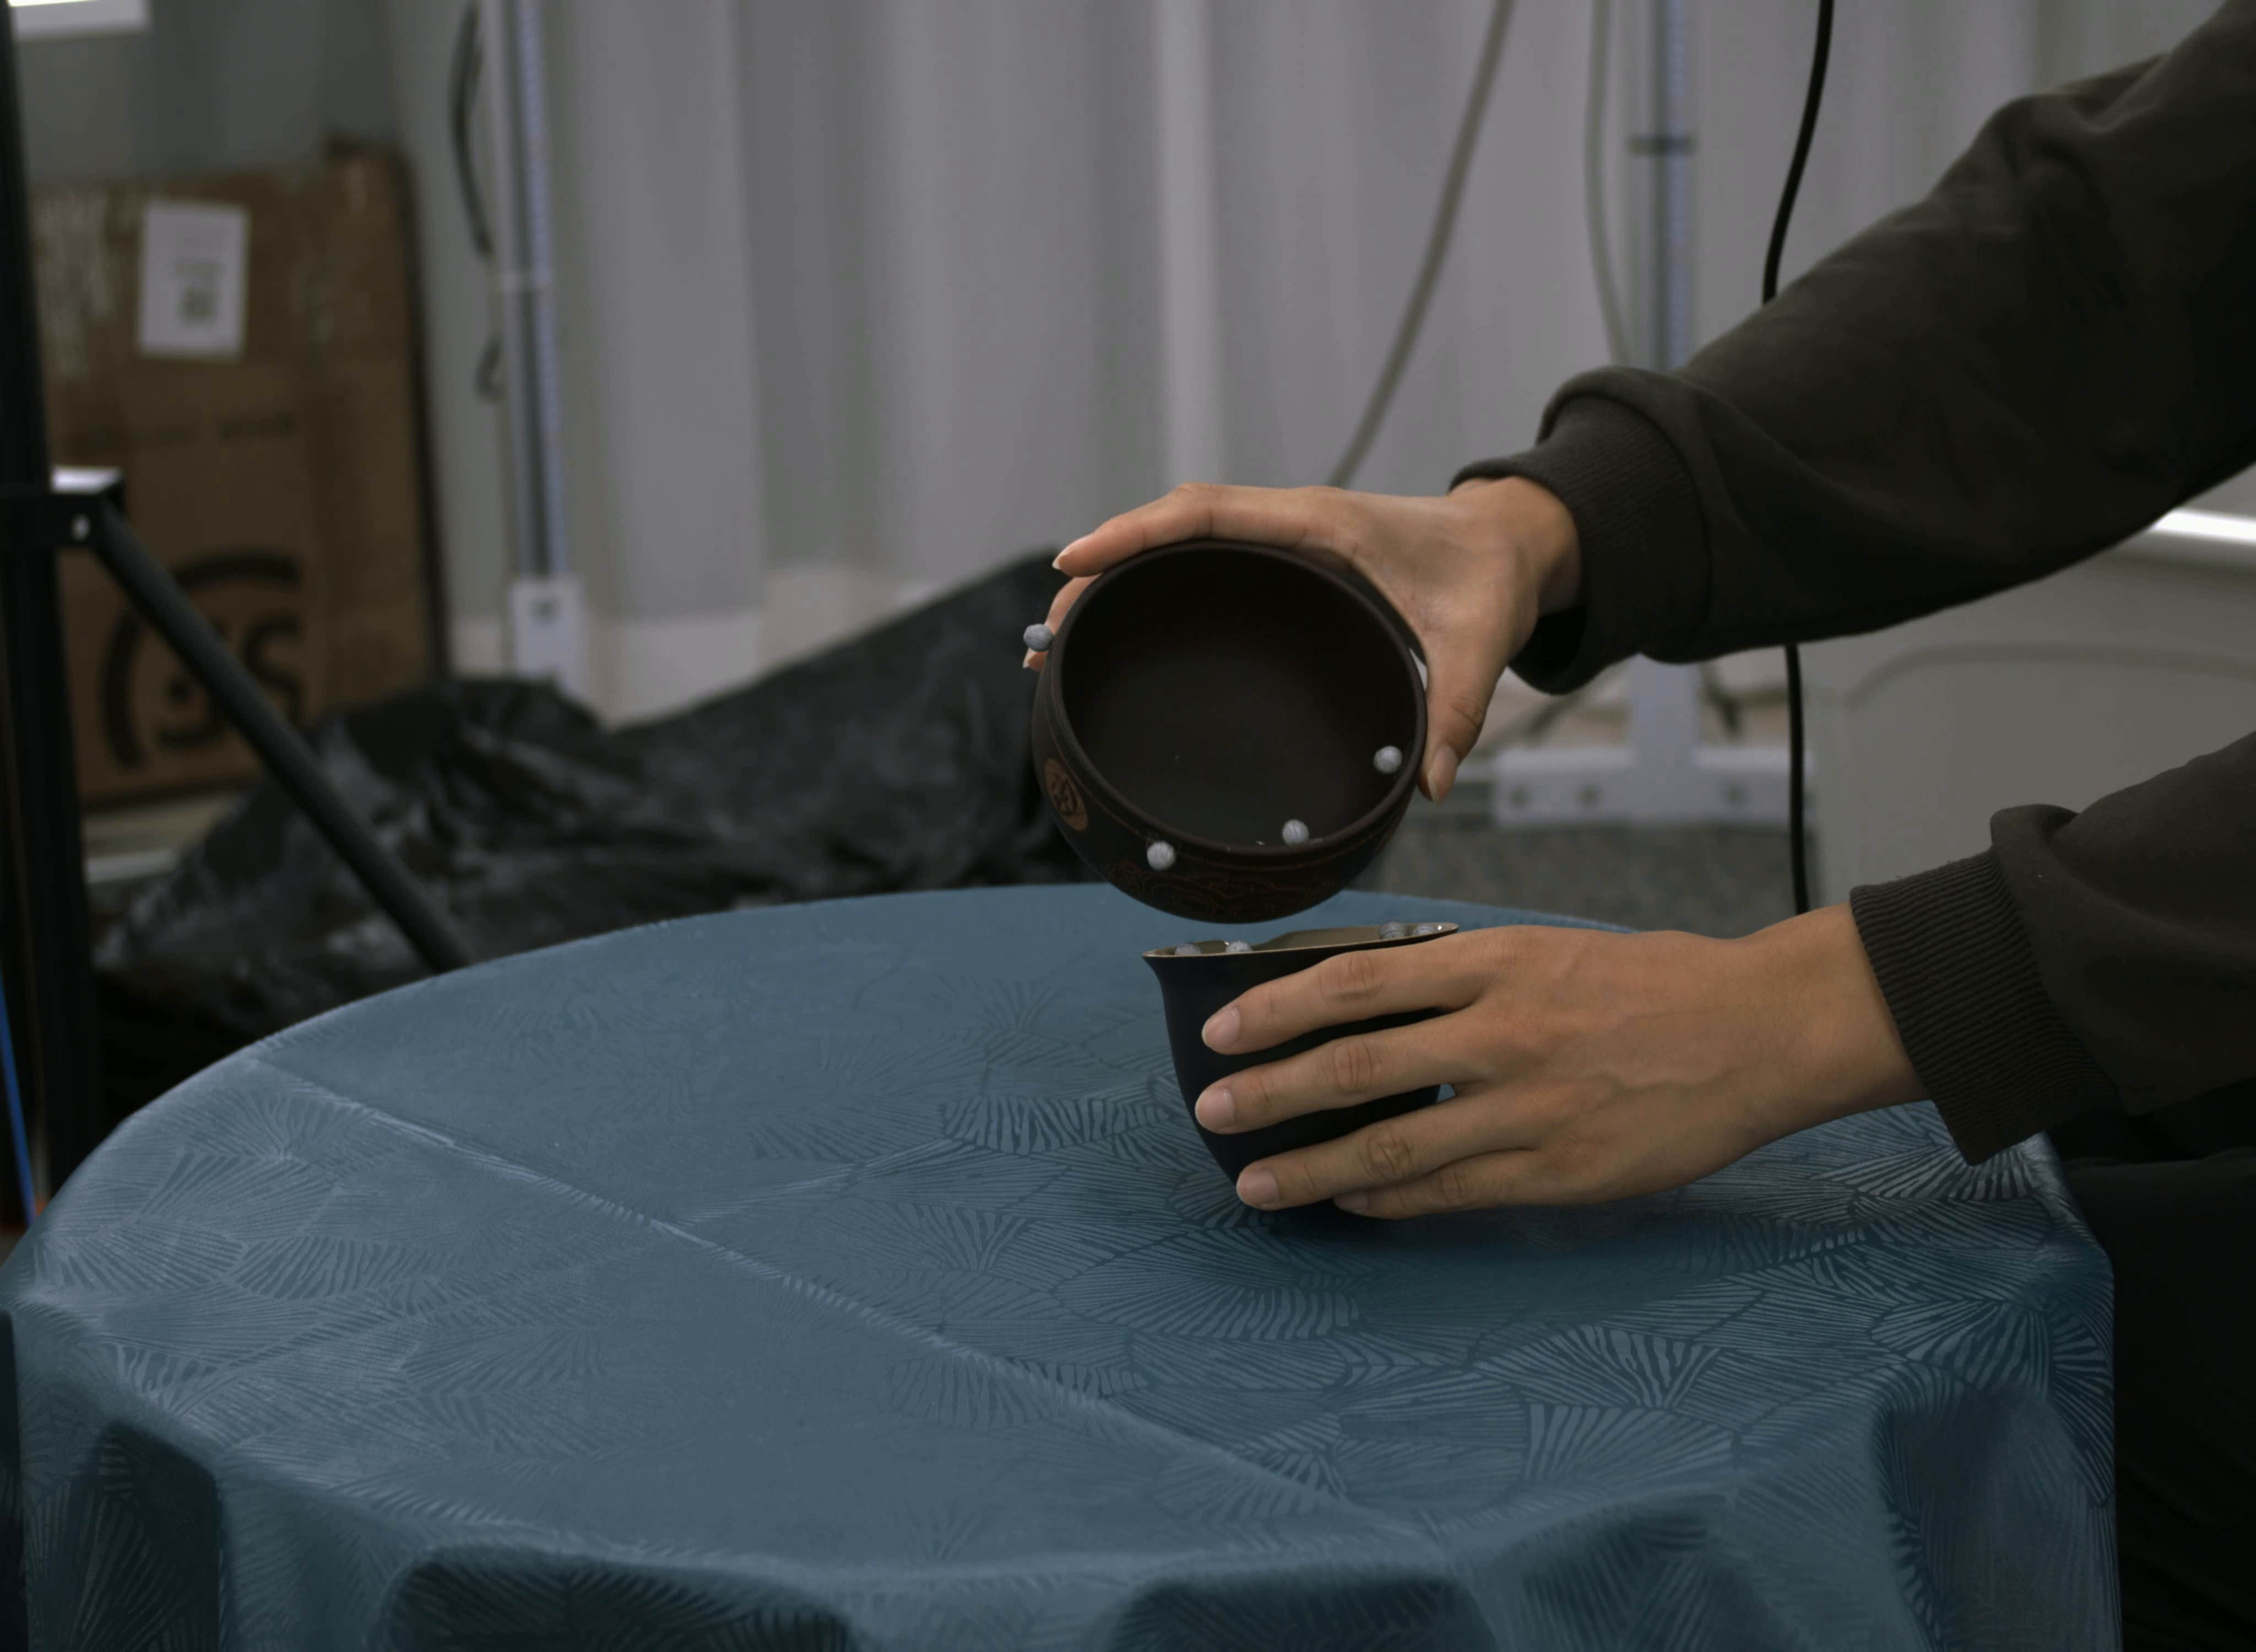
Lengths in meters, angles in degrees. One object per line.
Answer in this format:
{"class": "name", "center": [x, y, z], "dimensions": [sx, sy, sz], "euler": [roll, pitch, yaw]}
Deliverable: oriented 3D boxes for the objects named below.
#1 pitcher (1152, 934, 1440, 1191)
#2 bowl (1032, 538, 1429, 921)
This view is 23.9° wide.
{"class": "pitcher", "center": [0.051, 0.067, 1.547], "dimensions": [0.083, 0.072, 0.096], "euler": [-8, 0, -7]}
{"class": "bowl", "center": [0.027, -0.021, 1.606], "dimensions": [0.116, 0.070, 0.119], "euler": [5, 52, -8]}
